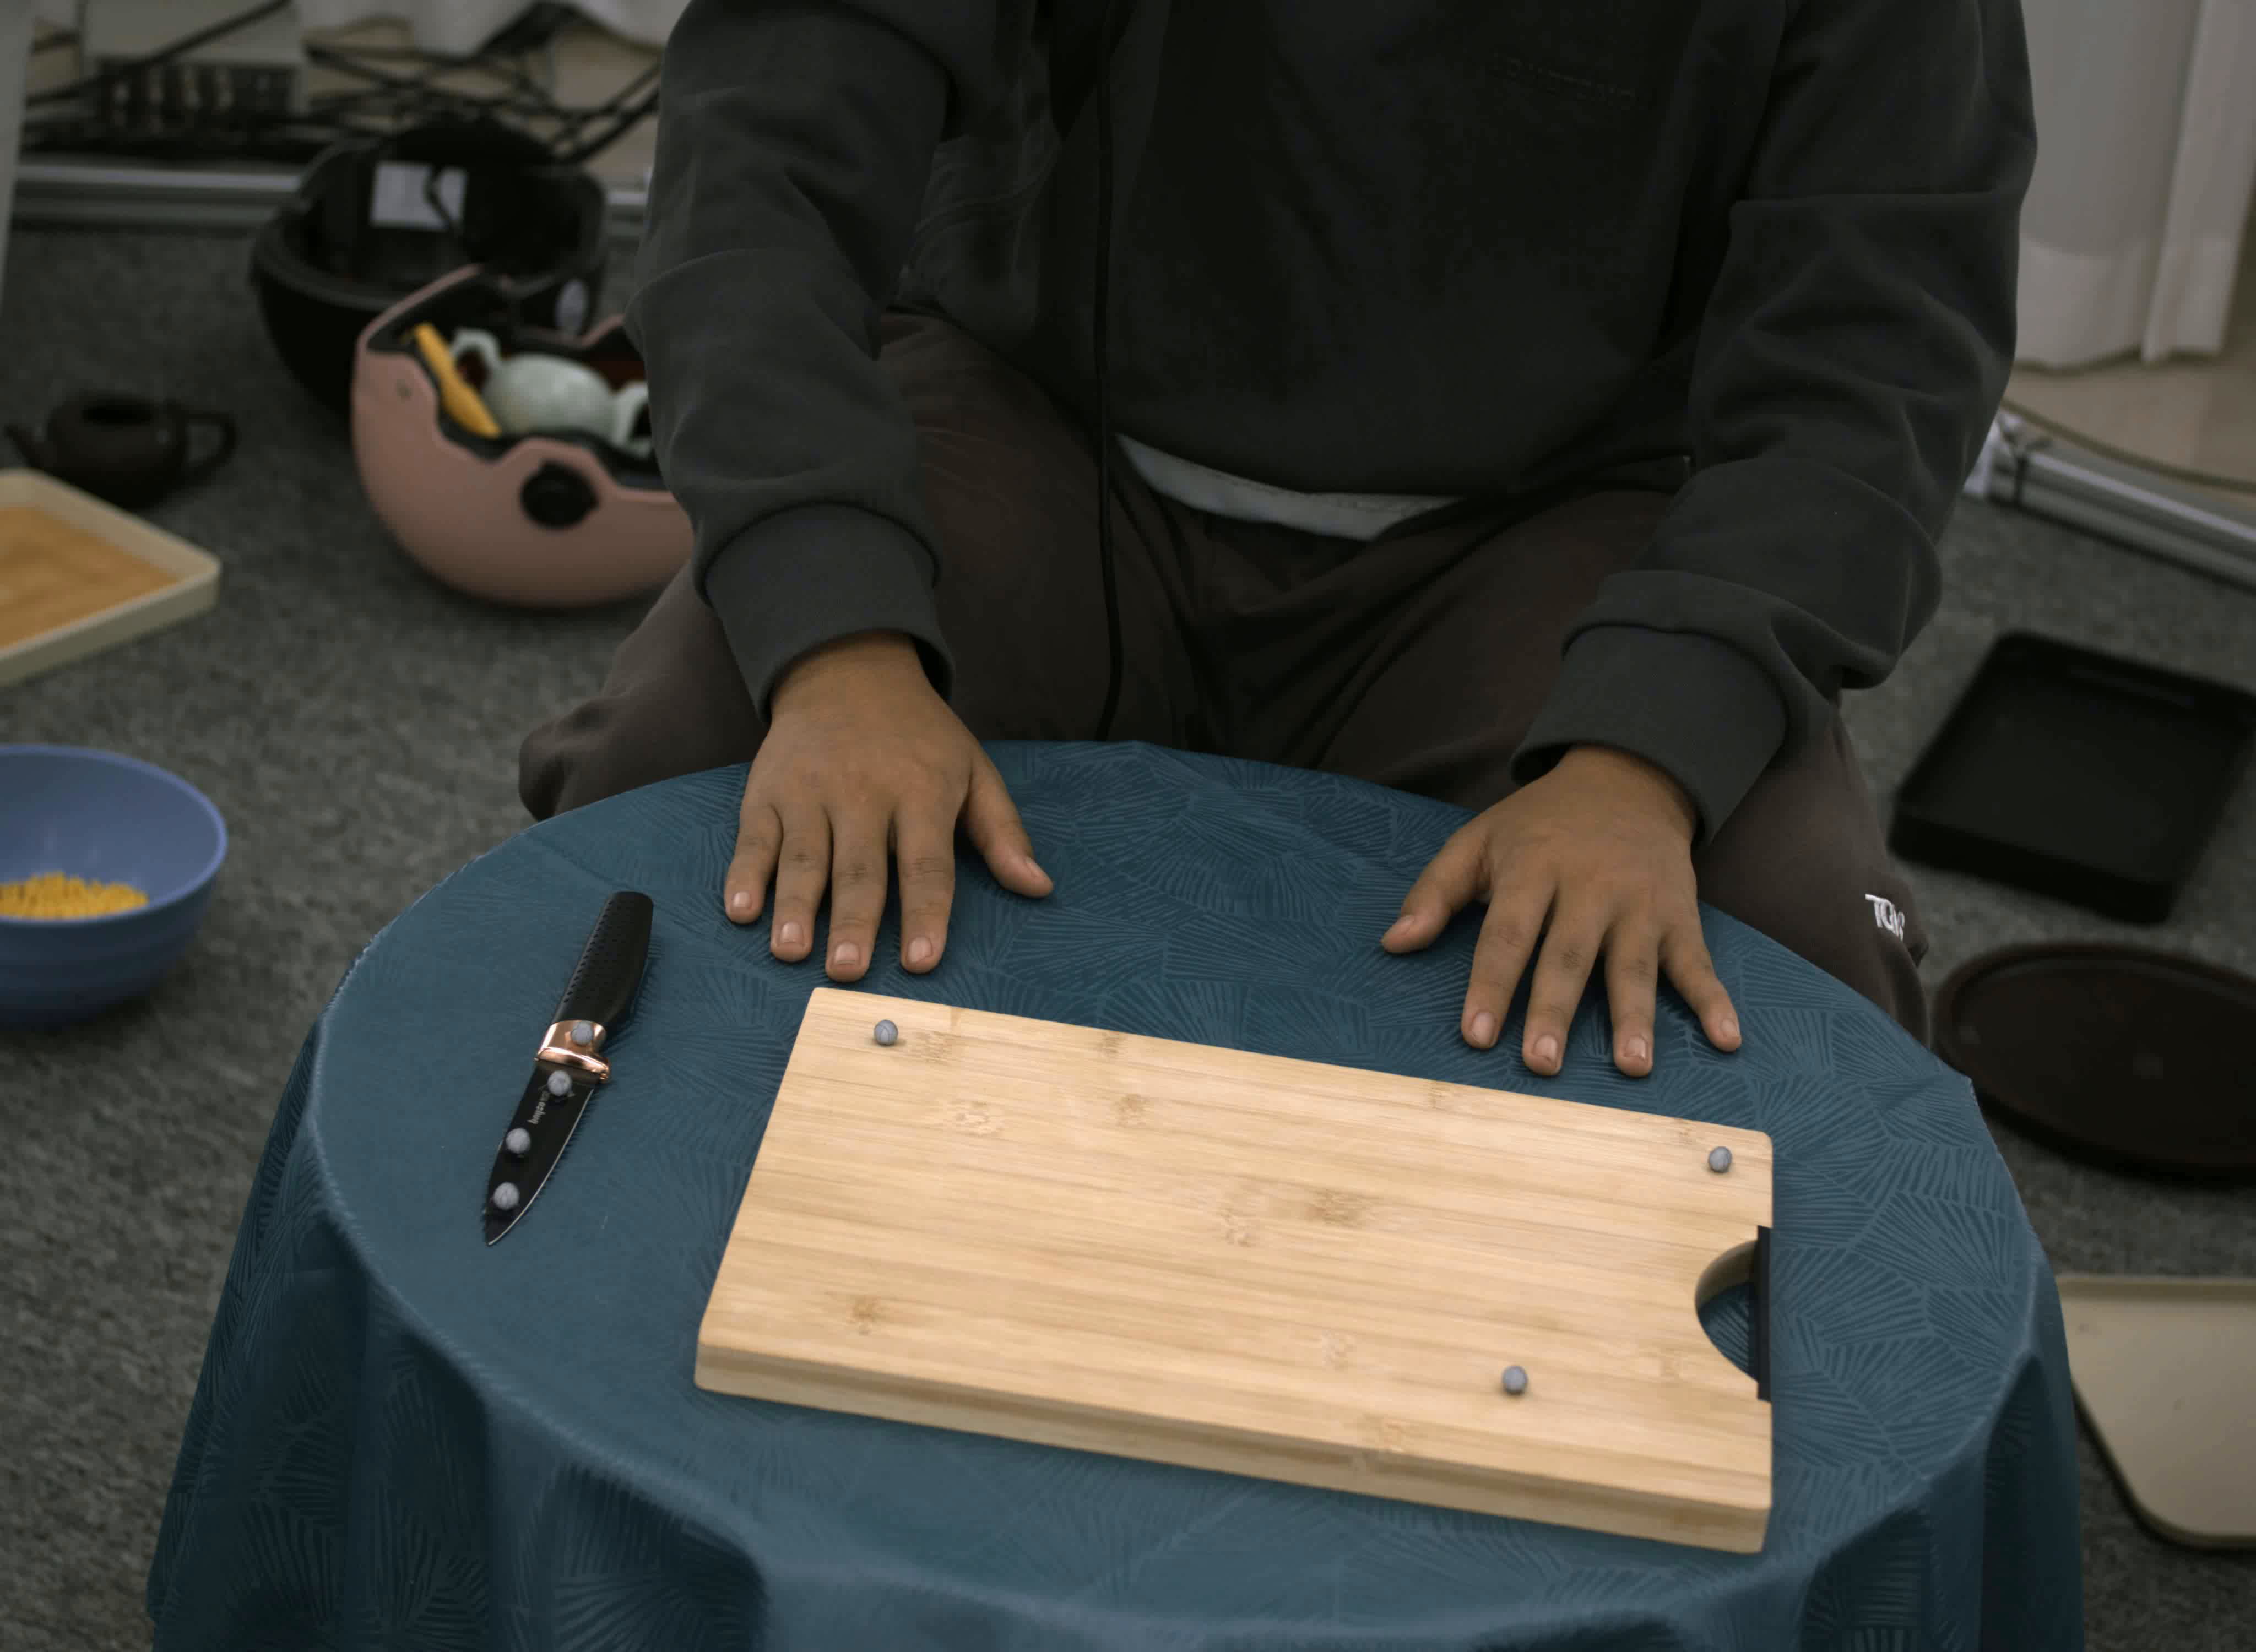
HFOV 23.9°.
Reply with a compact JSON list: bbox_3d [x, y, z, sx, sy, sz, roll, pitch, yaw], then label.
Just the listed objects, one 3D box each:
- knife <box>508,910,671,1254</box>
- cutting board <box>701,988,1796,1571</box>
[{"bbox_3d":[-0.188,0.086,1.825,0.026,0.017,0.226,16,28,1],"label":"knife"},{"bbox_3d":[0.048,0.144,1.760,0.348,0.023,0.252,8,27,3],"label":"cutting board"}]
